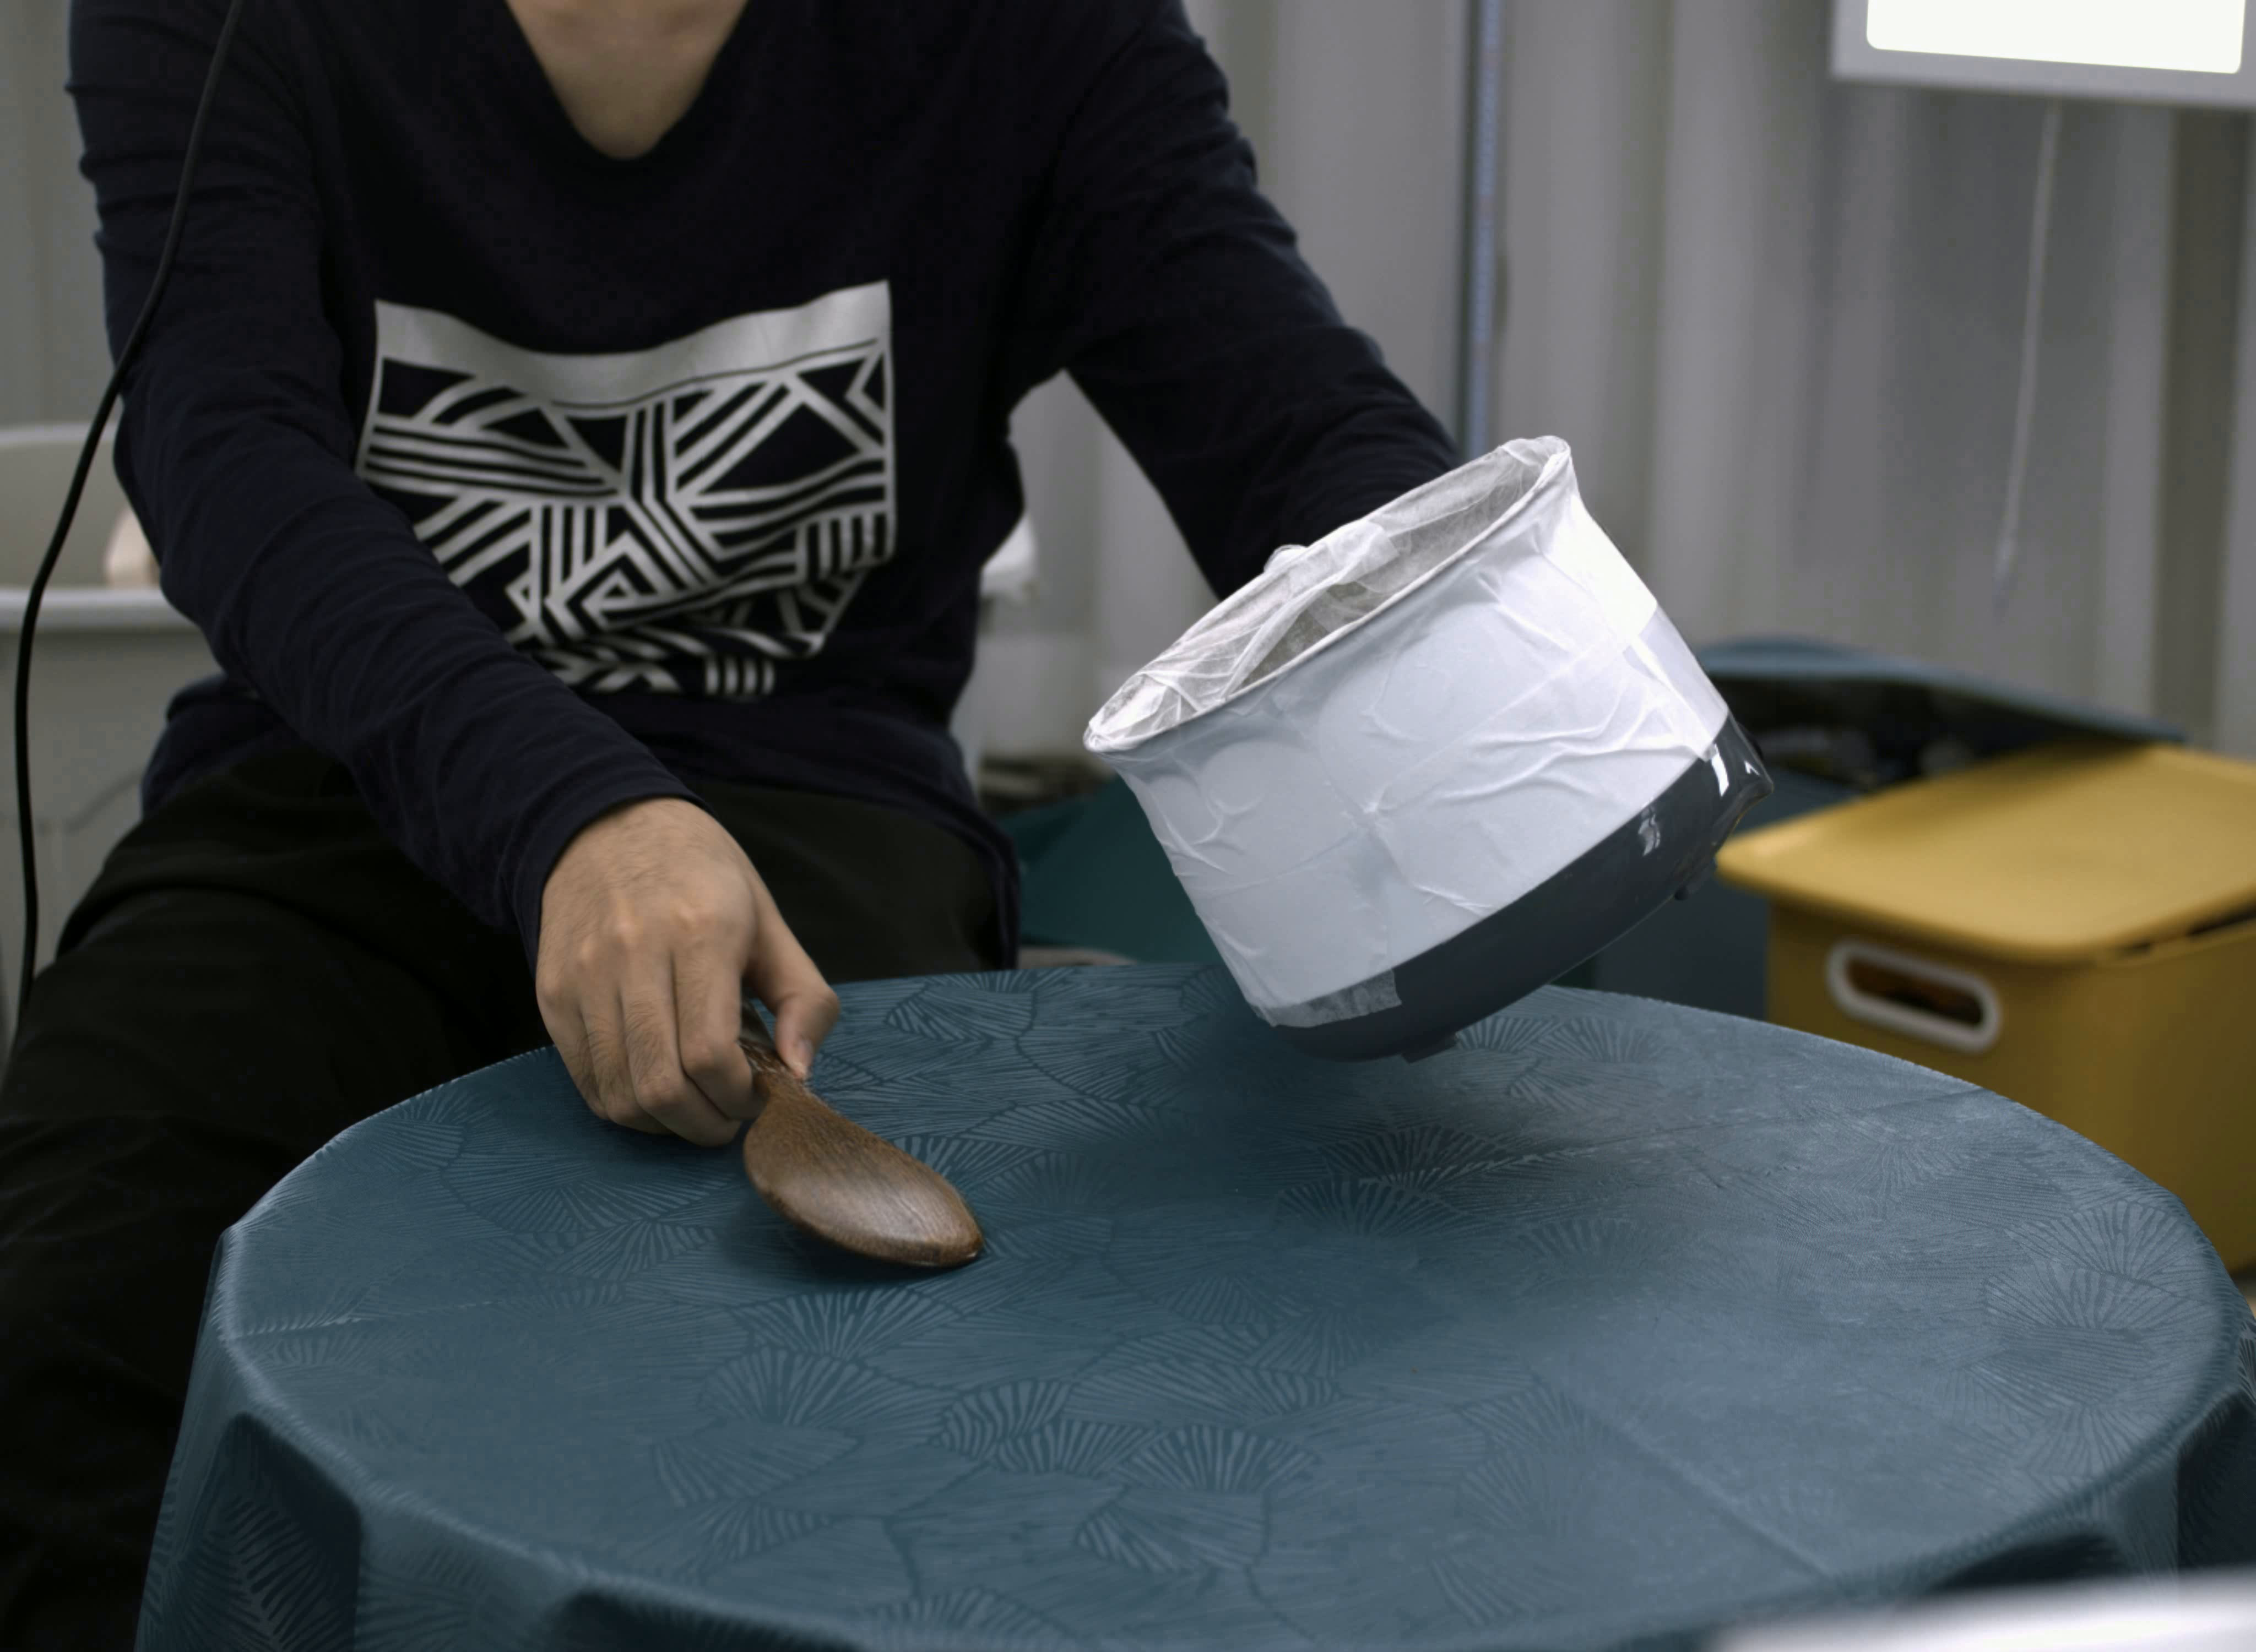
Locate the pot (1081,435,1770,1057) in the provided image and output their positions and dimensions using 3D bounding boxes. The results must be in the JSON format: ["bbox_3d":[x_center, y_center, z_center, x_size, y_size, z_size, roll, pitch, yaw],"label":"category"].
[{"bbox_3d":[0.090,-0.026,1.664,0.178,0.137,0.232,-30,11,-2],"label":"pot"}]

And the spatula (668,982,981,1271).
[{"bbox_3d":[-0.103,0.090,1.632,0.072,0.009,0.213,13,15,-26],"label":"spatula"}]
